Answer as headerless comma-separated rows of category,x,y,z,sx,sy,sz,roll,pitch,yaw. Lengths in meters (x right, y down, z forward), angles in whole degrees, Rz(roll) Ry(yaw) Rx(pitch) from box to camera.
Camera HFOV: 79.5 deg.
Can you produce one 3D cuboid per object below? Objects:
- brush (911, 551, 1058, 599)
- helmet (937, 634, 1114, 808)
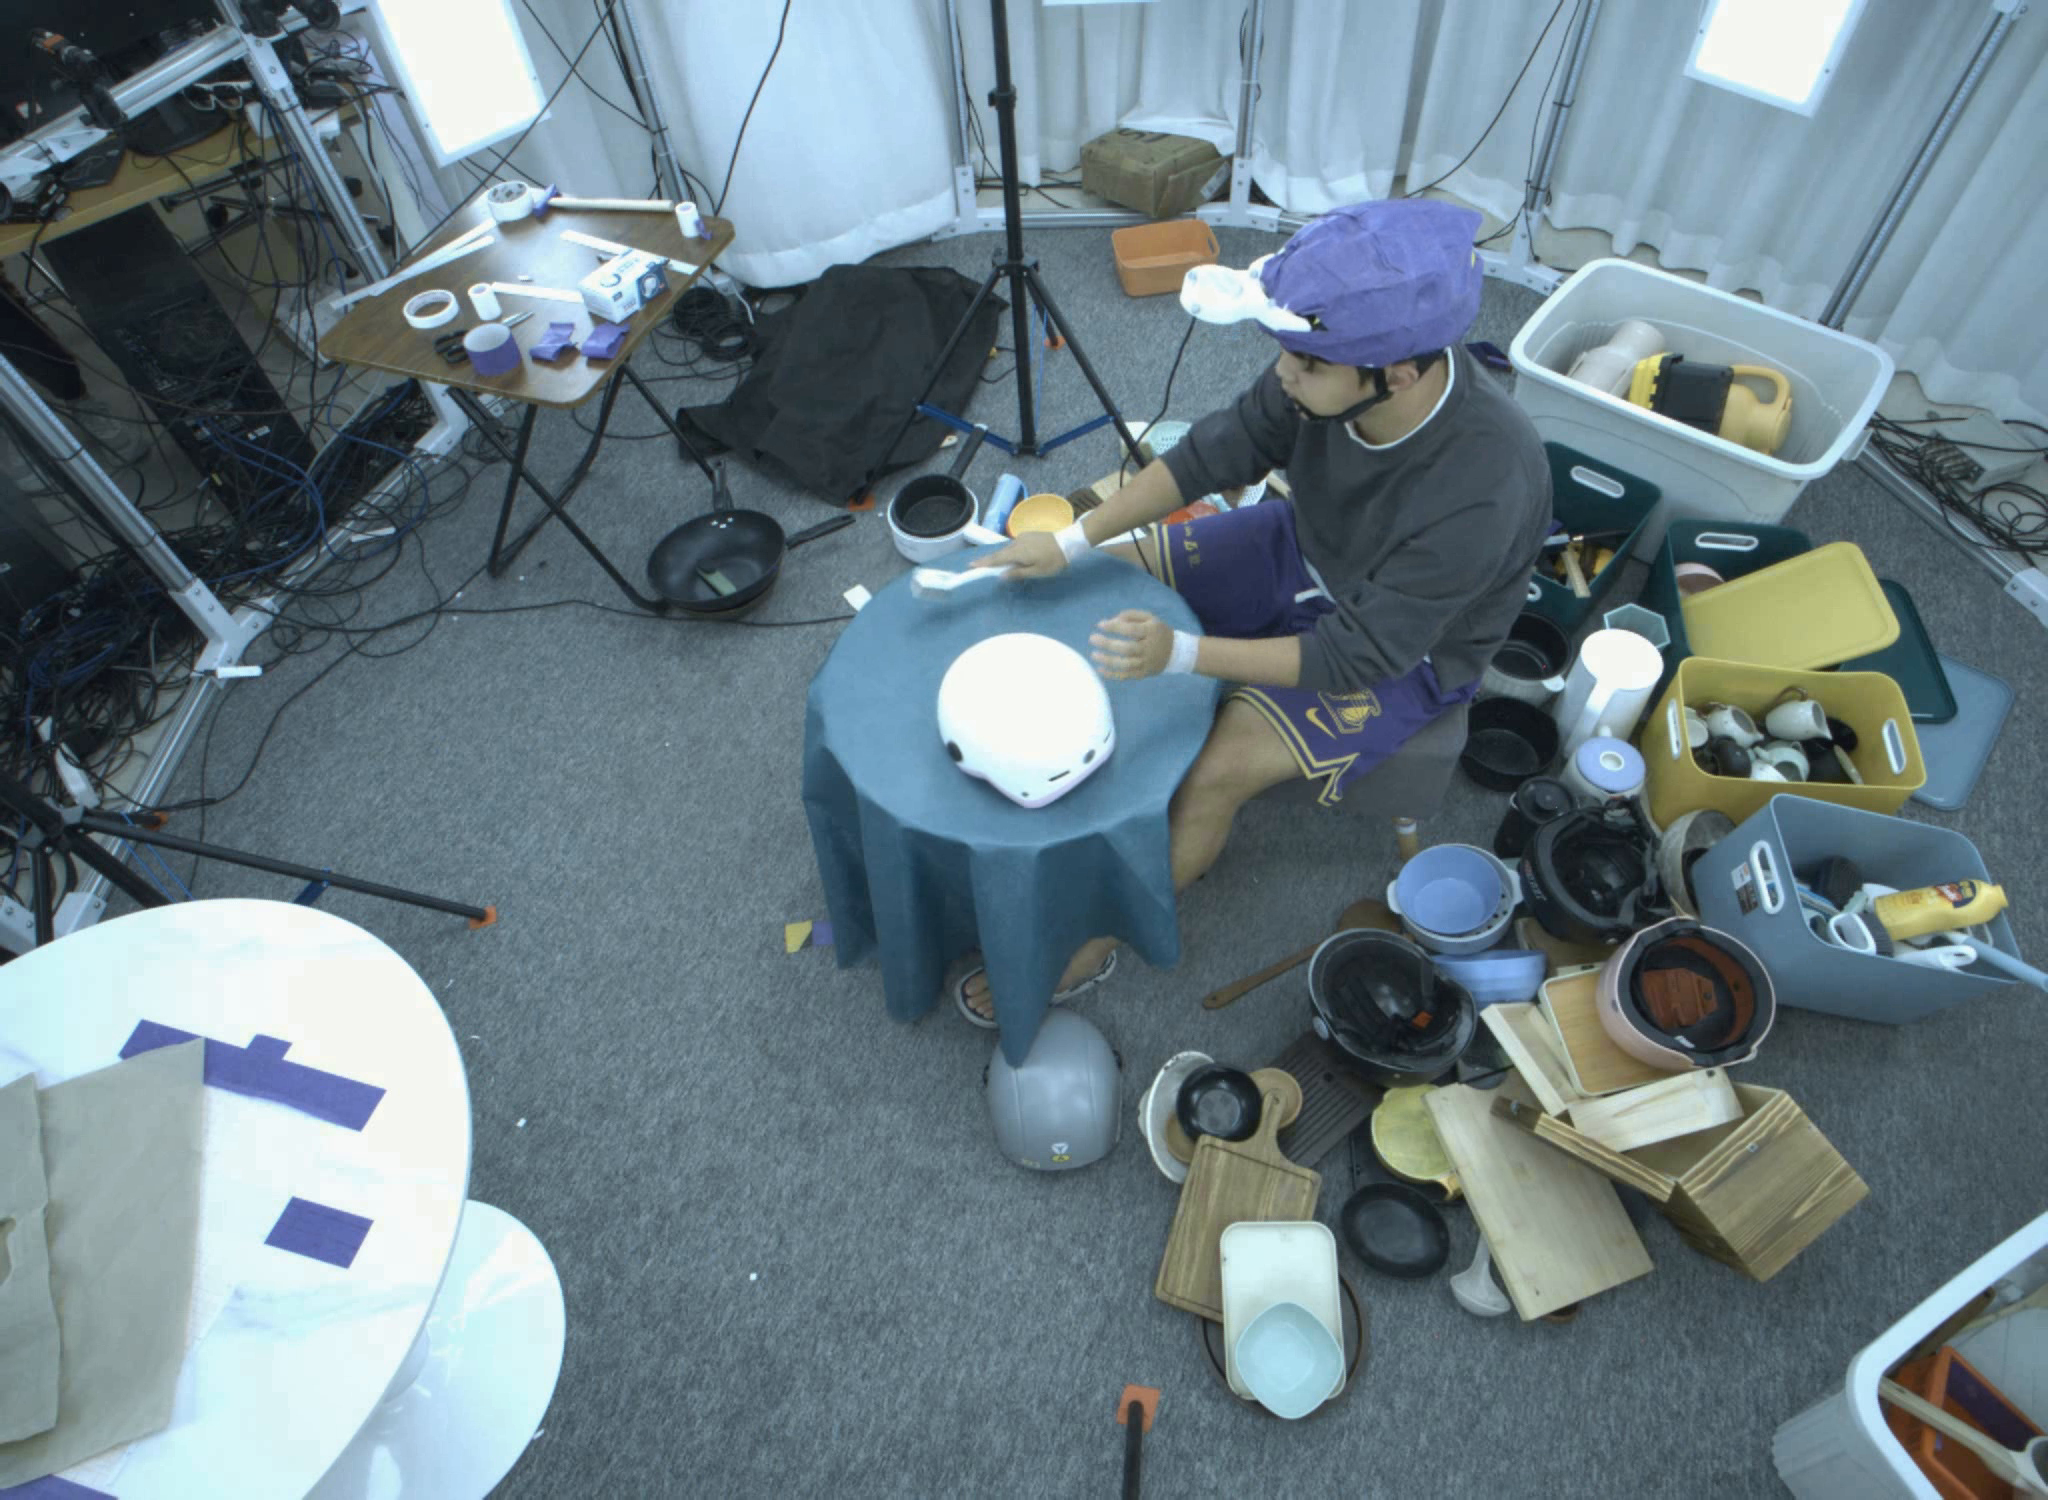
brush,-0.061,-0.276,1.940,0.247,0.050,0.034,-12,51,-23
helmet,-0.004,-0.067,1.737,0.239,0.169,0.264,-39,61,-22
